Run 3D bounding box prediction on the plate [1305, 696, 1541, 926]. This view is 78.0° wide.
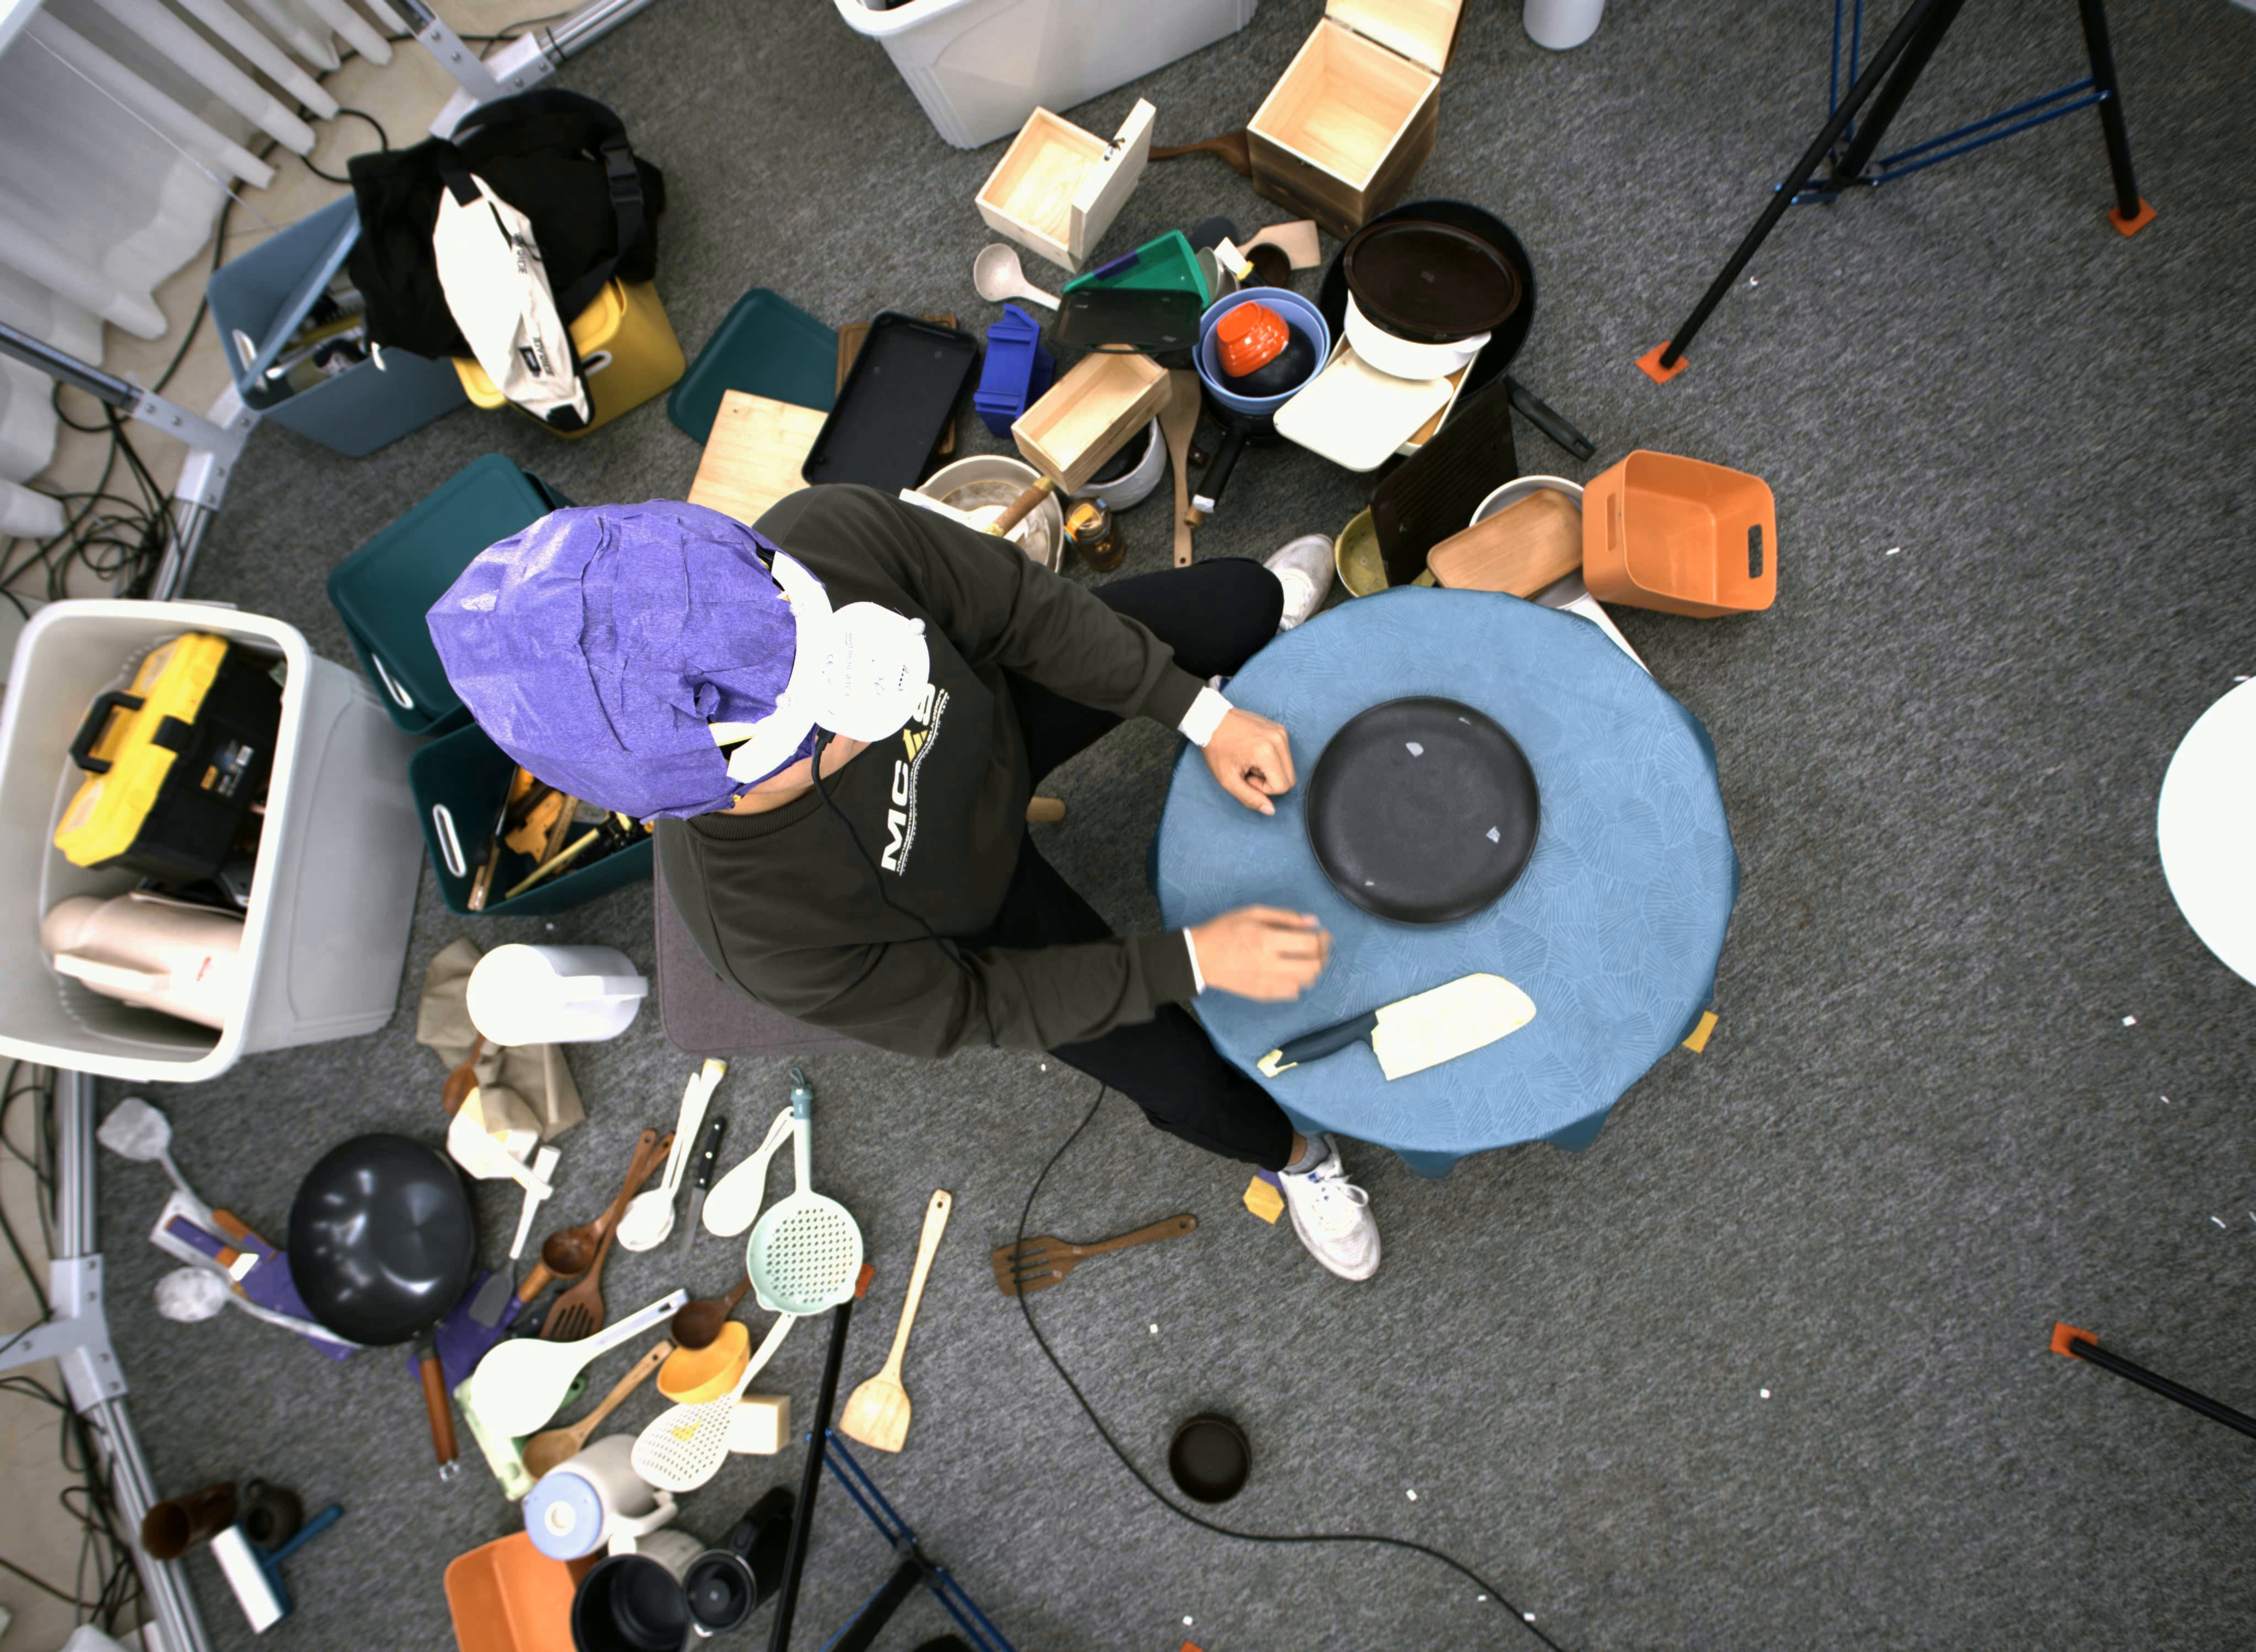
[{"bbox_3d":[0.308,-0.017,1.446,0.245,0.023,0.243,-1,87,11],"label":"plate"}]

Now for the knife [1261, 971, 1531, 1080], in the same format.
[{"bbox_3d":[0.280,0.220,1.442,0.291,0.027,0.080,-19,82,8],"label":"knife"}]
